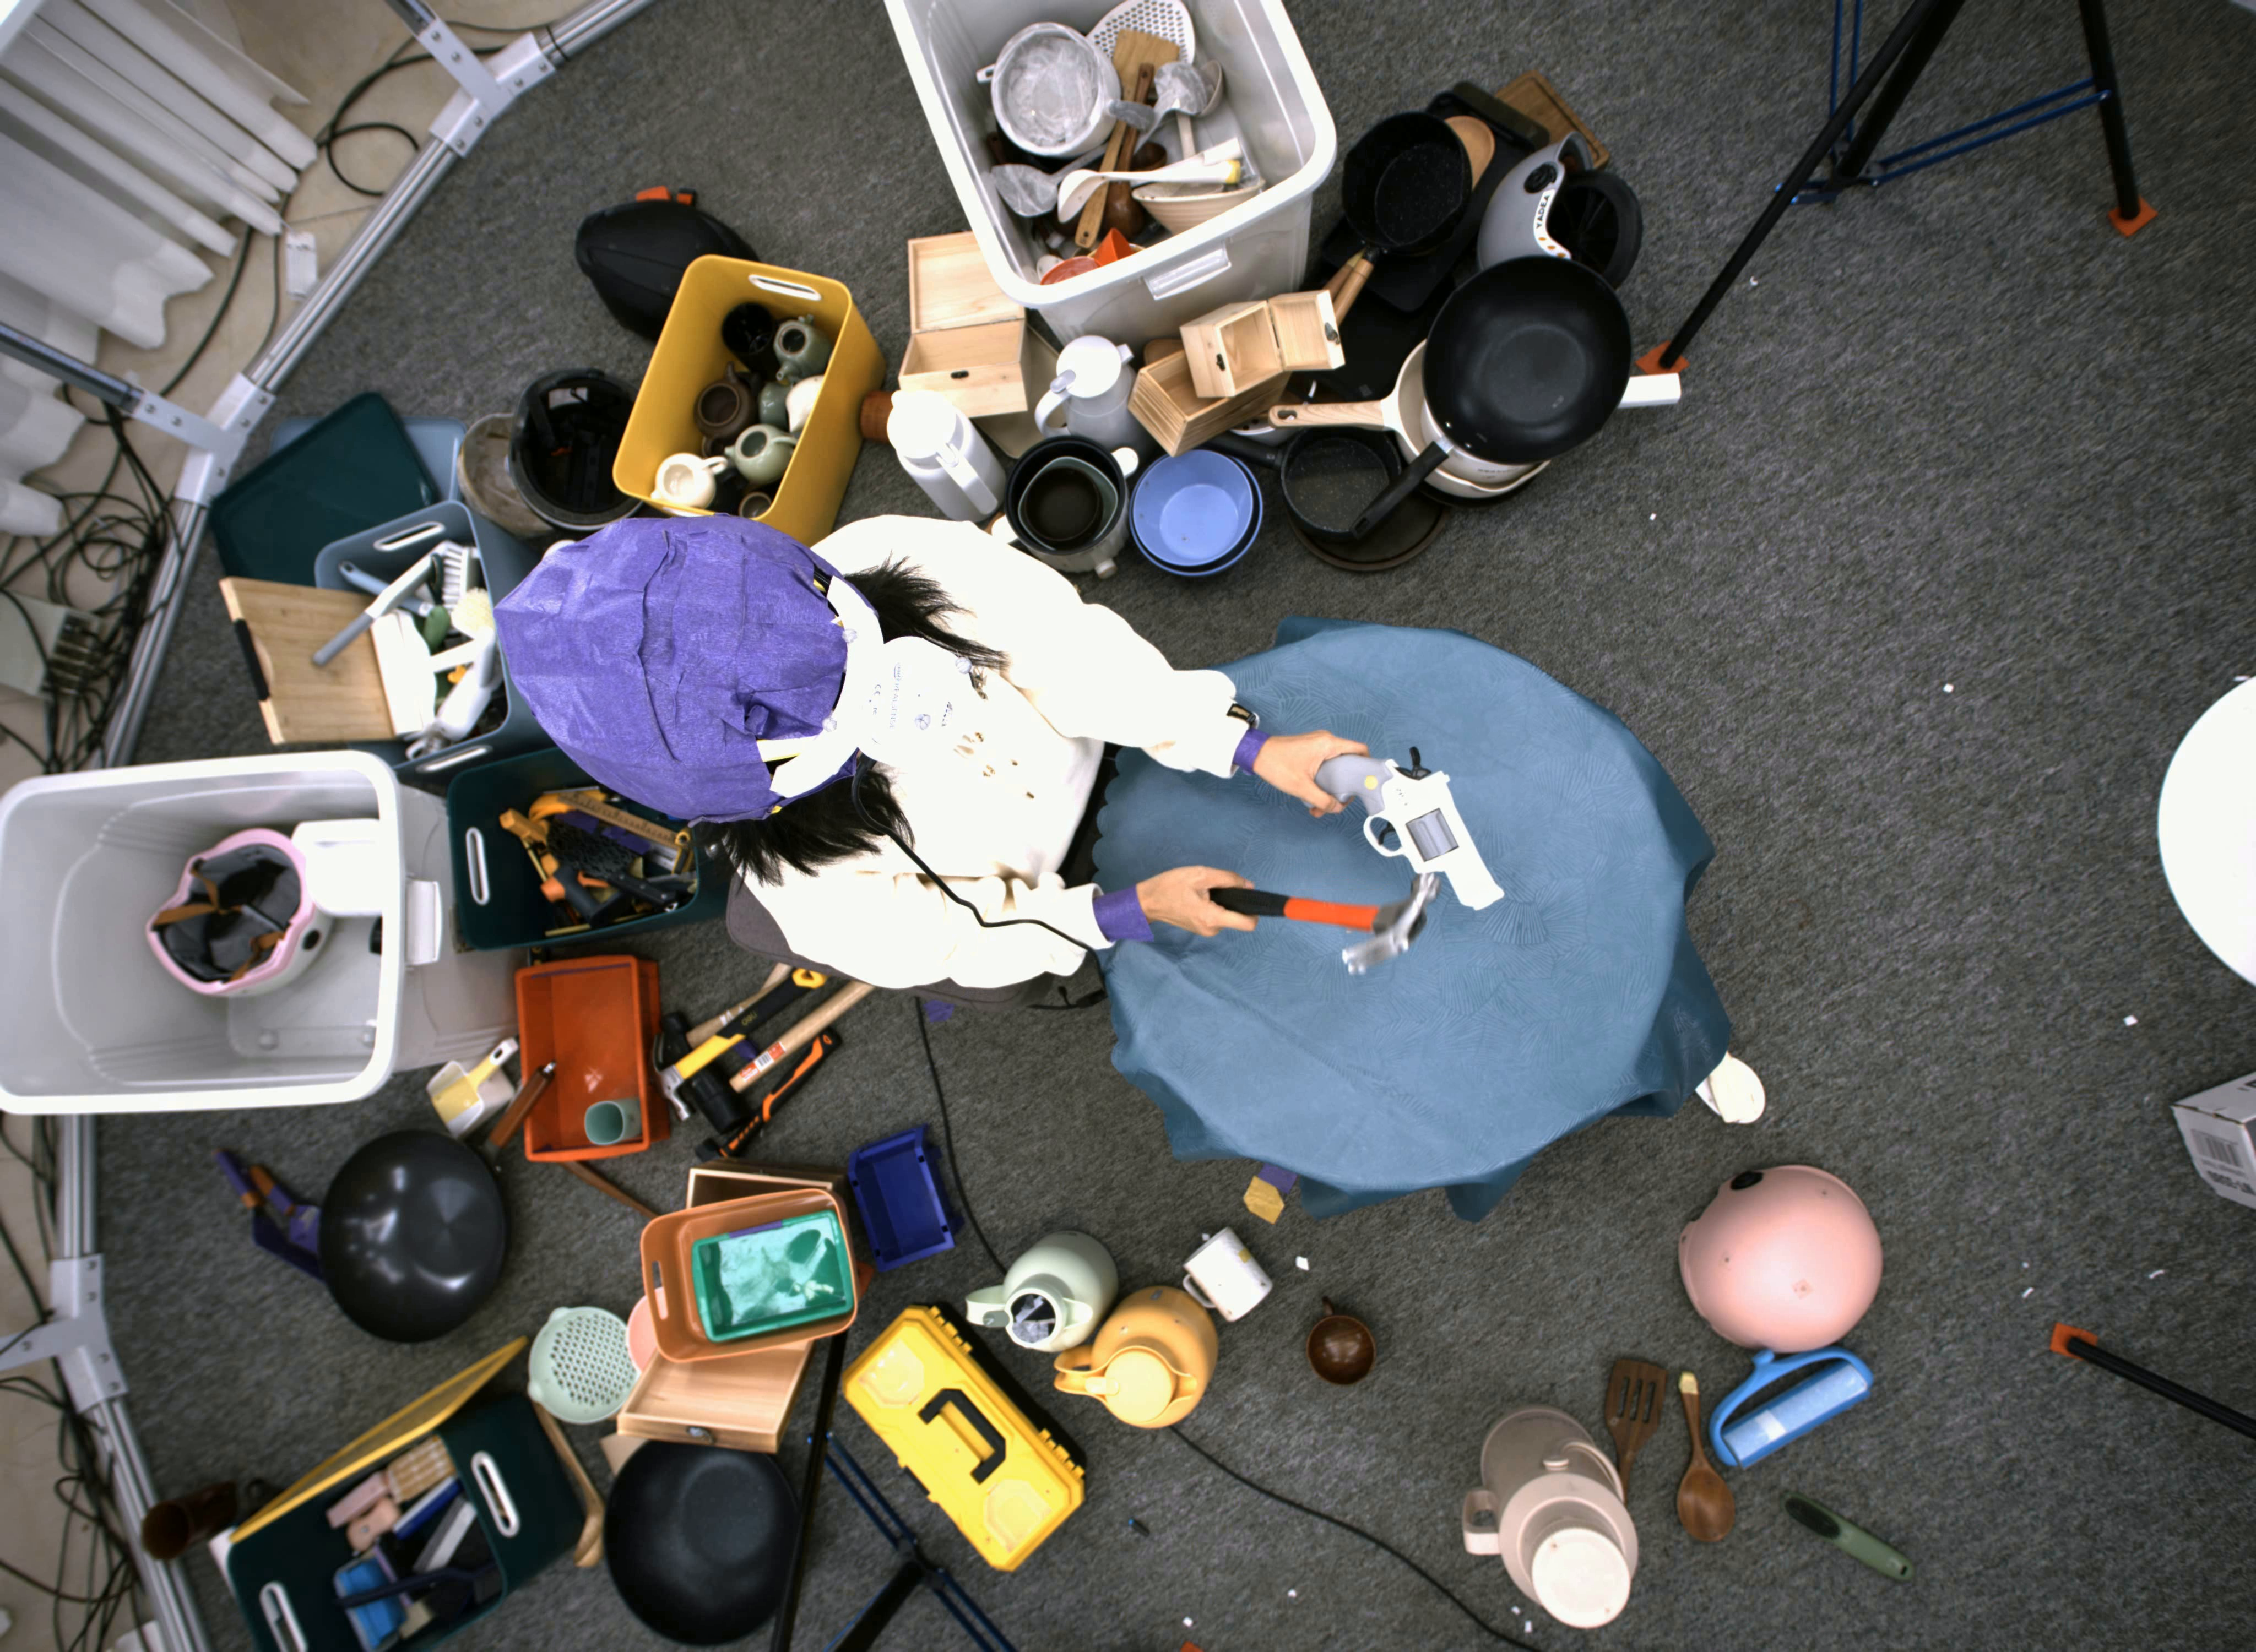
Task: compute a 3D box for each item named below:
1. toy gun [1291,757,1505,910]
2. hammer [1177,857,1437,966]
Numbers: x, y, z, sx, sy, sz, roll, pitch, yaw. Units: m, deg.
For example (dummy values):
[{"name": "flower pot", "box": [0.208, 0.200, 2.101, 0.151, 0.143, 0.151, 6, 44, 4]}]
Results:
[{"name": "toy gun", "box": [0.260, 0.005, 1.347, 0.144, 0.038, 0.209, -29, 88, 33]}, {"name": "hammer", "box": [0.155, 0.072, 1.315, 0.279, 0.027, 0.108, 3, 54, 45]}]
